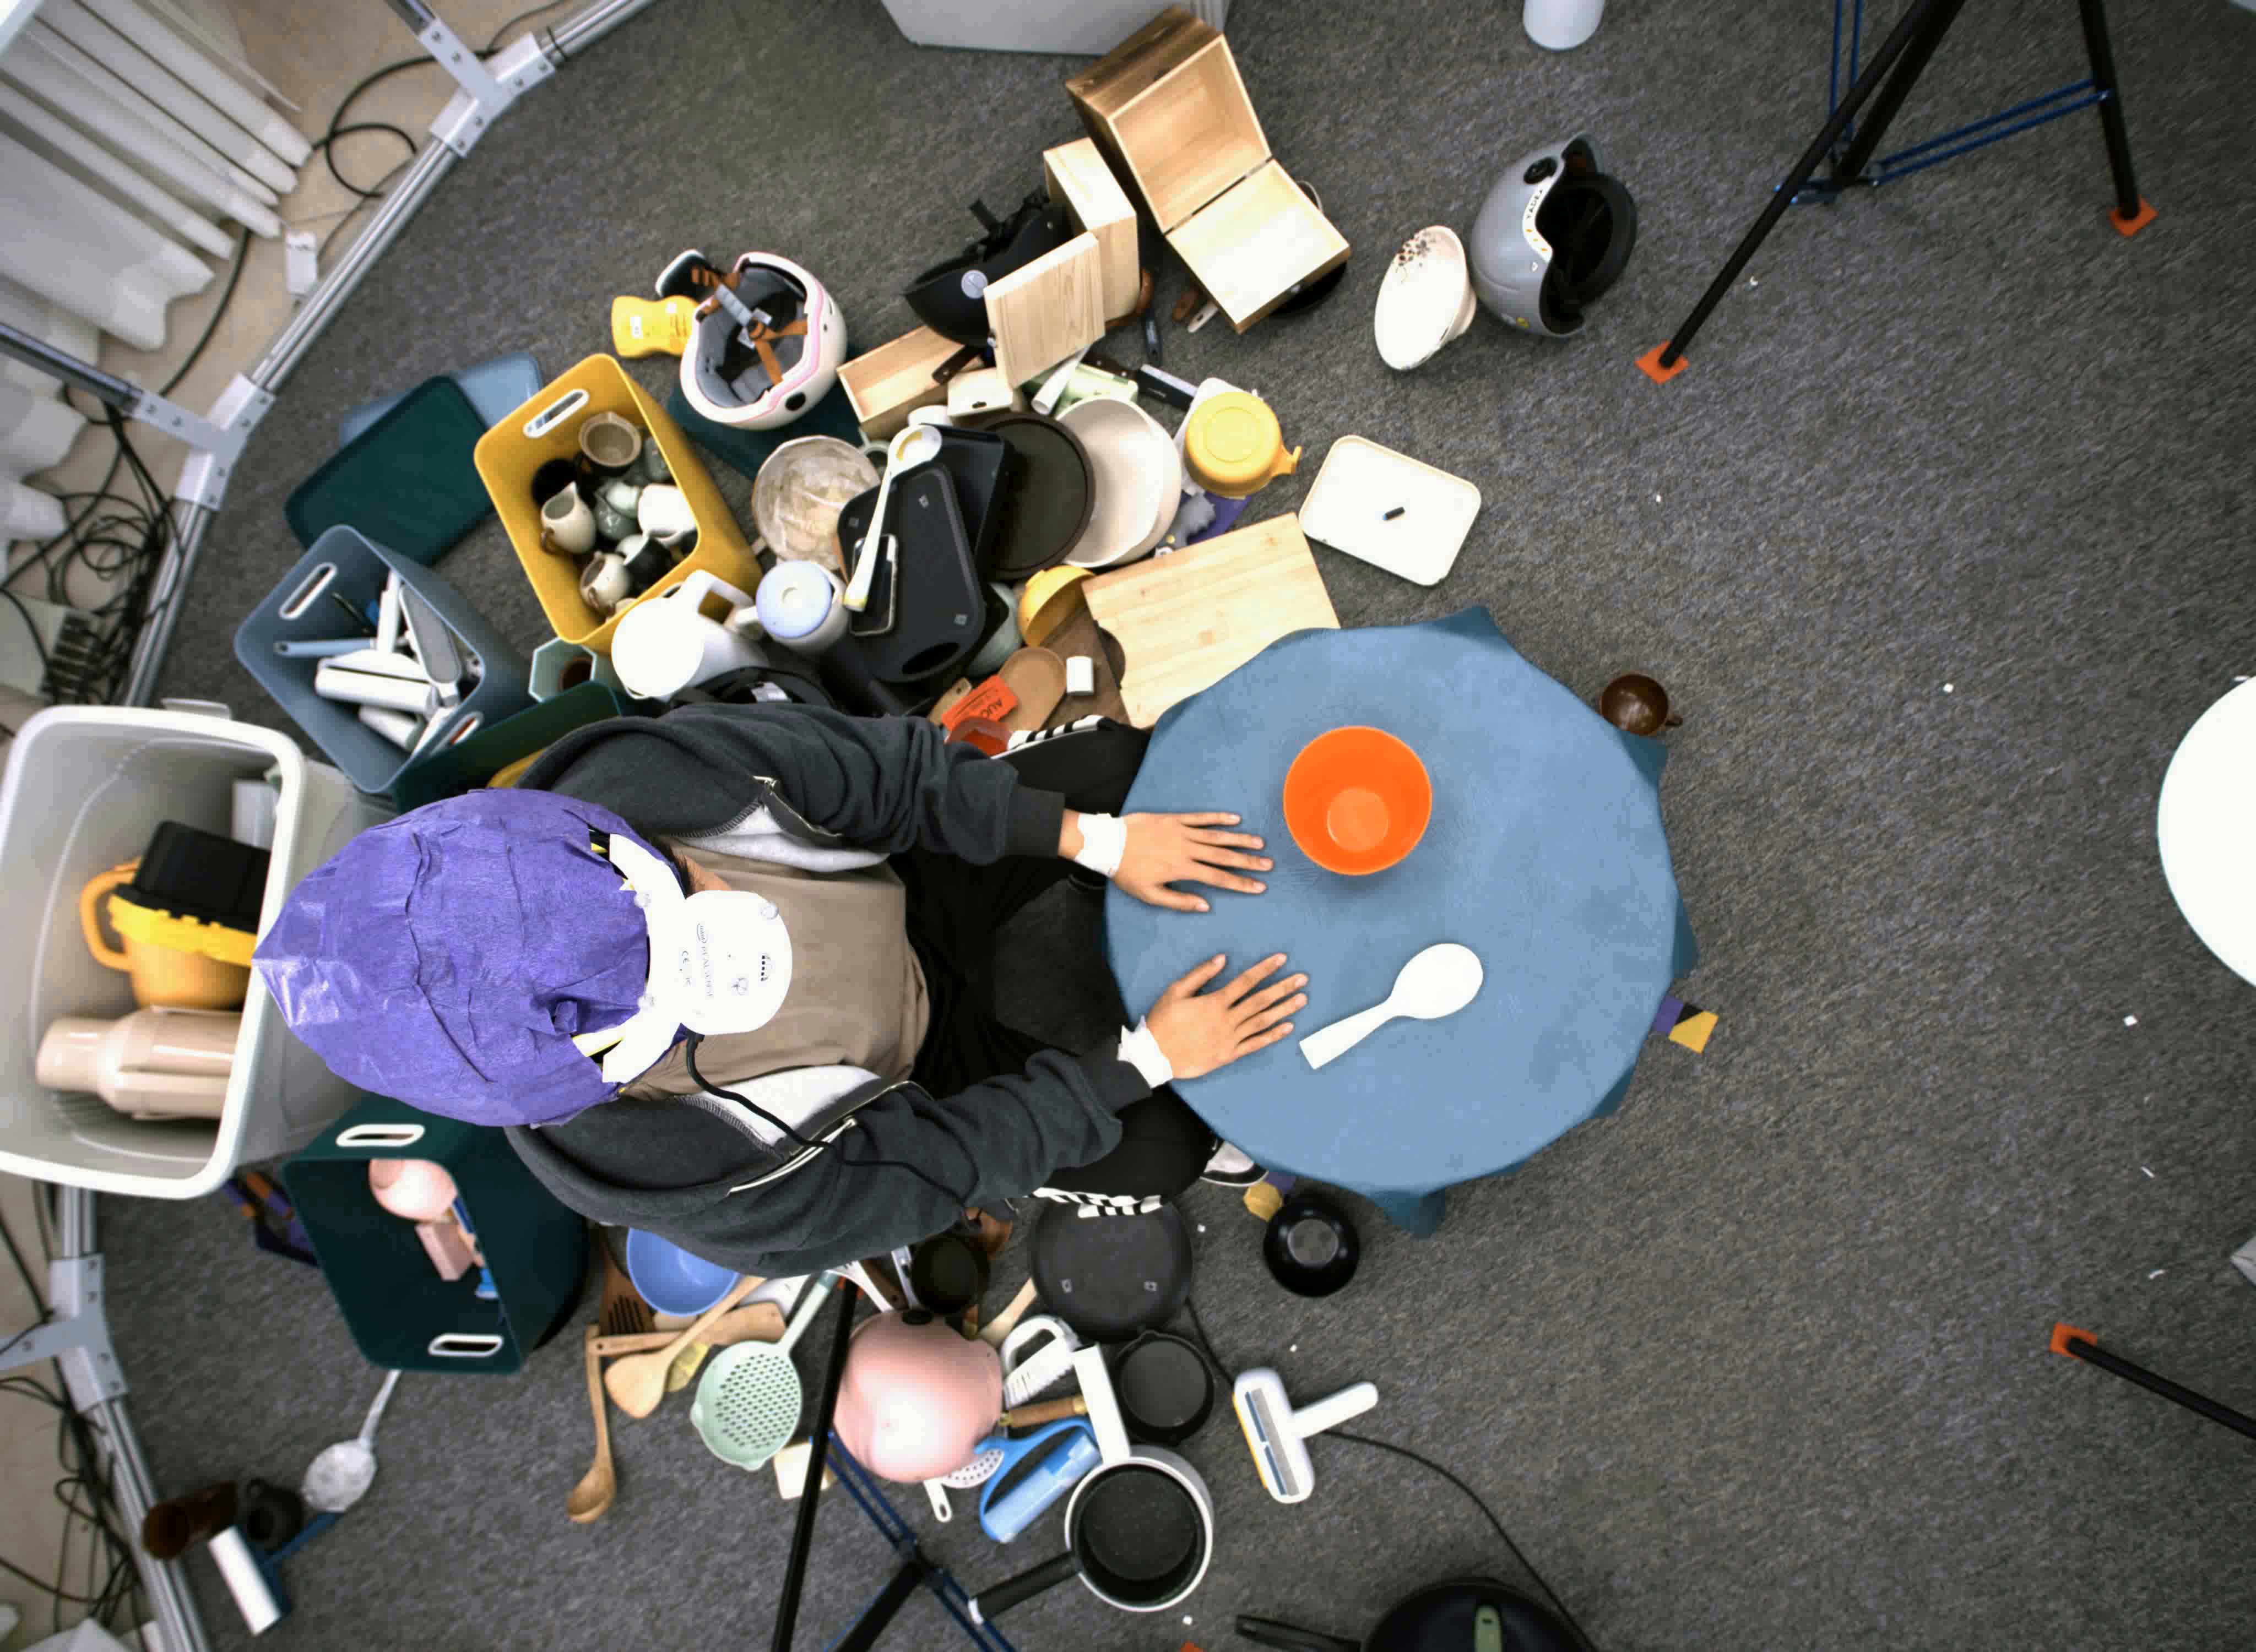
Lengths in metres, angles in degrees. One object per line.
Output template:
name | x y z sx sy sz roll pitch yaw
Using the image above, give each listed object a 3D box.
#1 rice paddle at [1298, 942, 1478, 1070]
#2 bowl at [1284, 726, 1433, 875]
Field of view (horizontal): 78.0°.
rice paddle | 0.271 0.187 1.437 0.206 0.029 0.068 -32 83 7
bowl | 0.236 -0.023 1.420 0.148 0.104 0.147 -1 87 9
